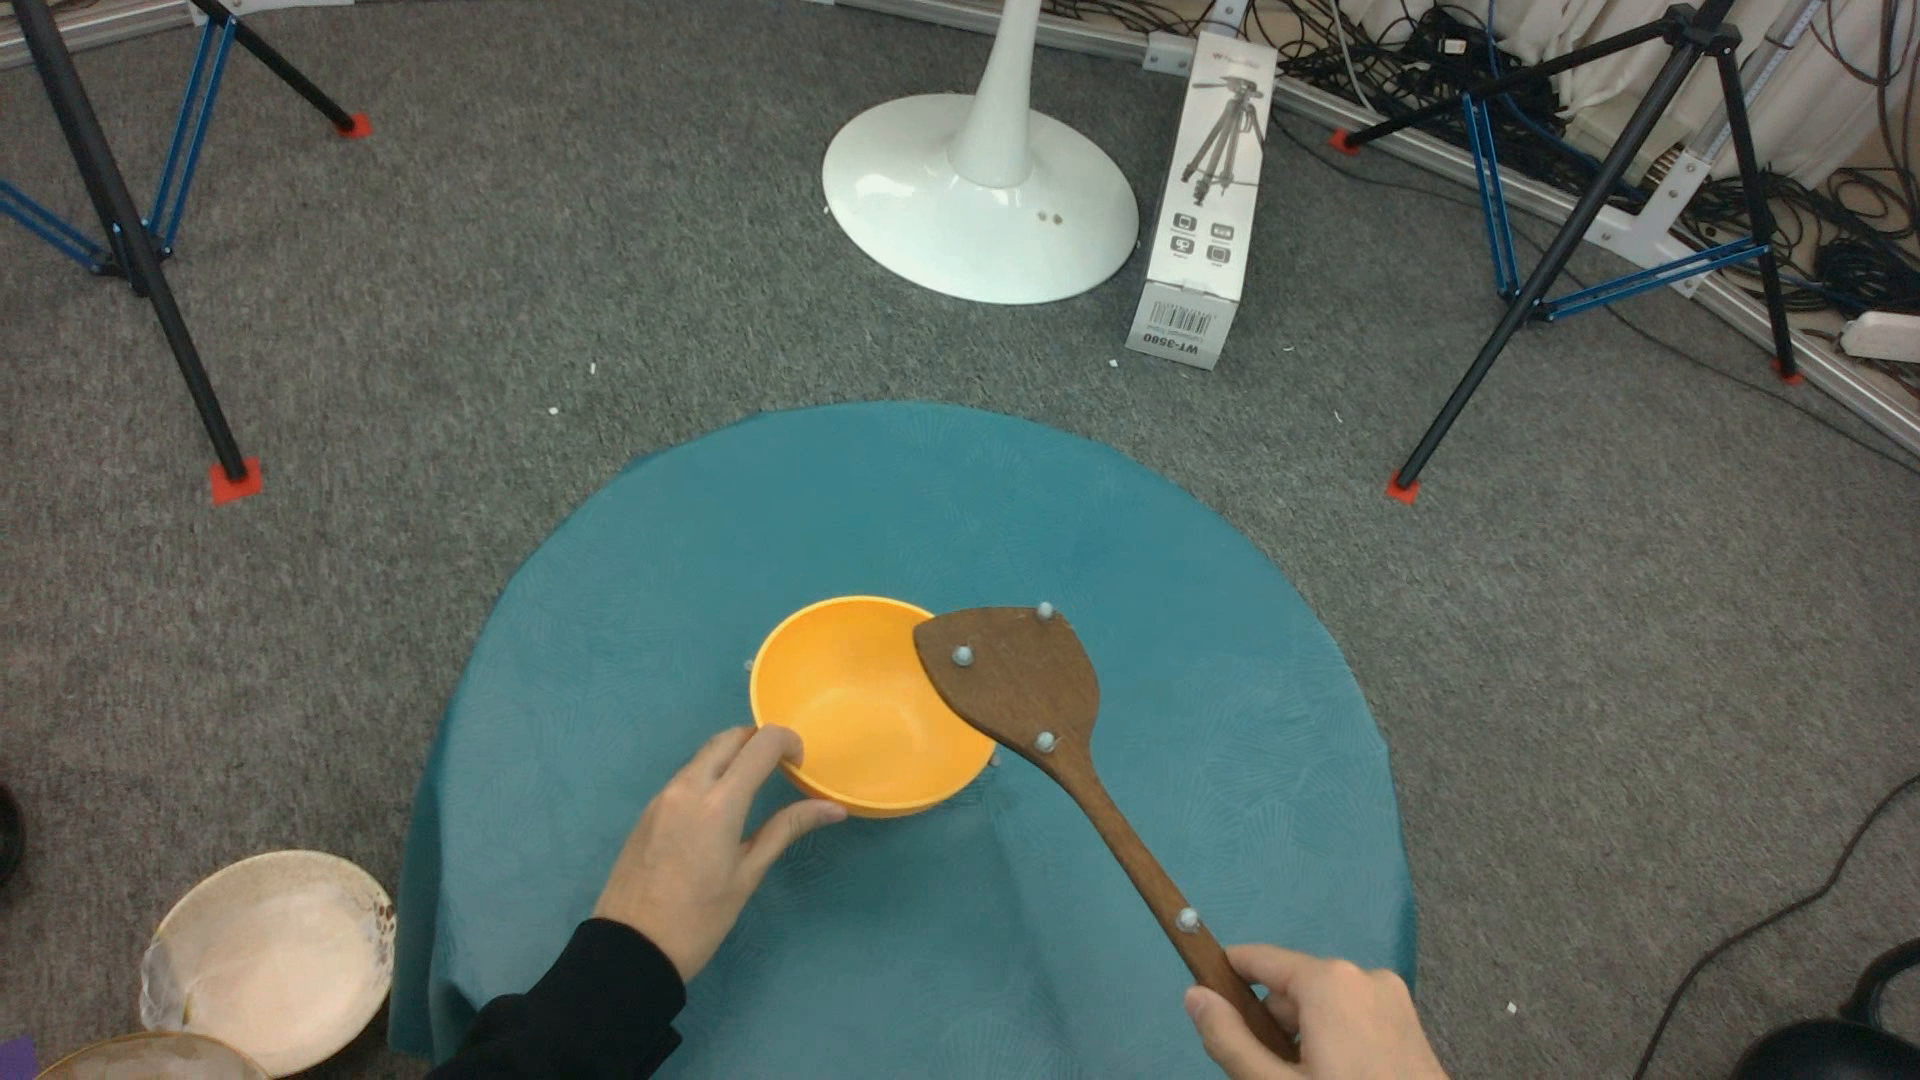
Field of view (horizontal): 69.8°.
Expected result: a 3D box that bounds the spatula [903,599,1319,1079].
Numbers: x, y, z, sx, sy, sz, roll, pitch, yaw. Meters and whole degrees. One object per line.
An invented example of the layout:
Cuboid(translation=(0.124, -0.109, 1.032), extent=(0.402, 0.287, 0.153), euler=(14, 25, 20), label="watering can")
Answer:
Cuboid(translation=(0.085, 0.150, 0.603), extent=(0.096, 0.016, 0.387), euler=(-4, 39, -29), label="spatula")

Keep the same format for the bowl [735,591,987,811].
Cuboid(translation=(-0.060, 0.103, 0.800), extent=(0.145, 0.060, 0.146), euler=(8, 48, -9), label="bowl")
